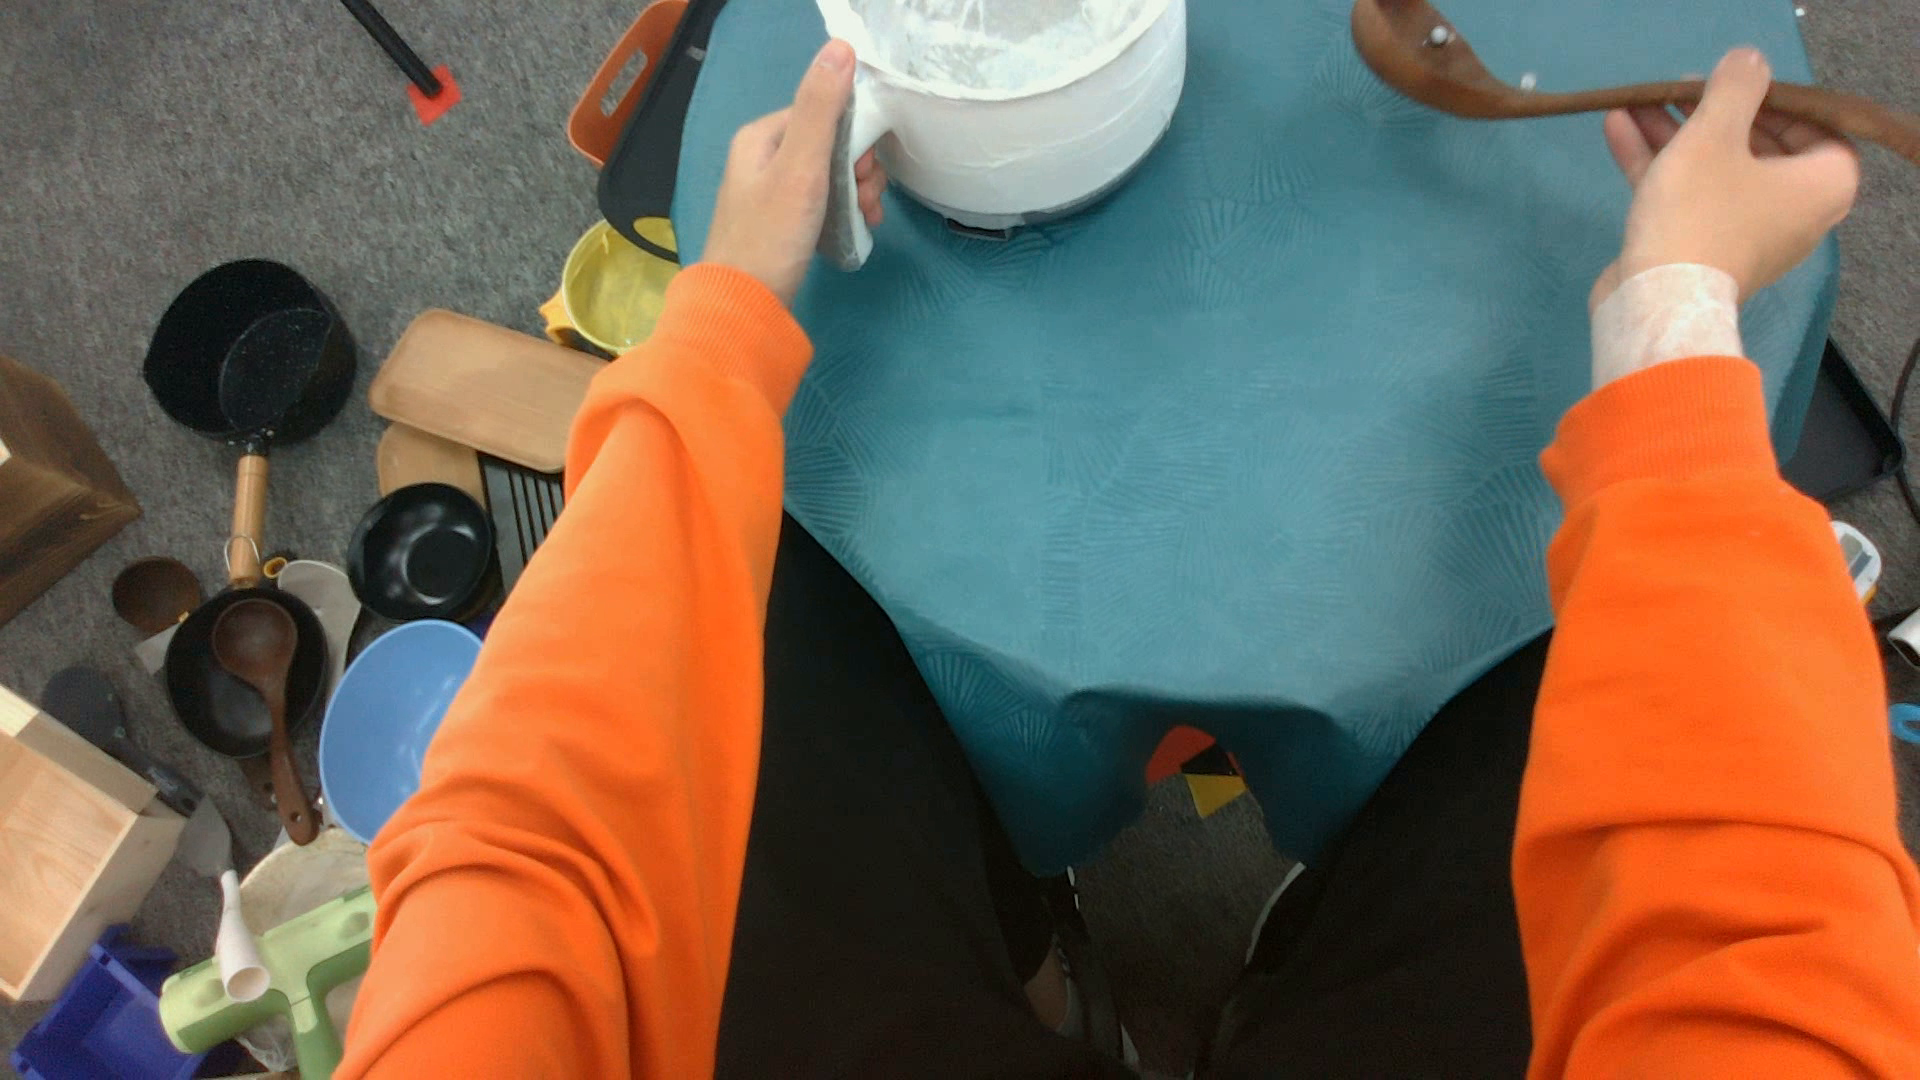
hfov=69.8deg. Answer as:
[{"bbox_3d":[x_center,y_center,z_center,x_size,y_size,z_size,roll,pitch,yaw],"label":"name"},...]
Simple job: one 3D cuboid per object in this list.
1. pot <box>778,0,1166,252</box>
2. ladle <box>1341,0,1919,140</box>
[{"bbox_3d":[-0.003,-0.249,0.682,0.179,0.136,0.234,39,81,16],"label":"pot"},{"bbox_3d":[0.288,-0.224,0.602,0.260,0.077,0.065,22,120,35],"label":"ladle"}]
